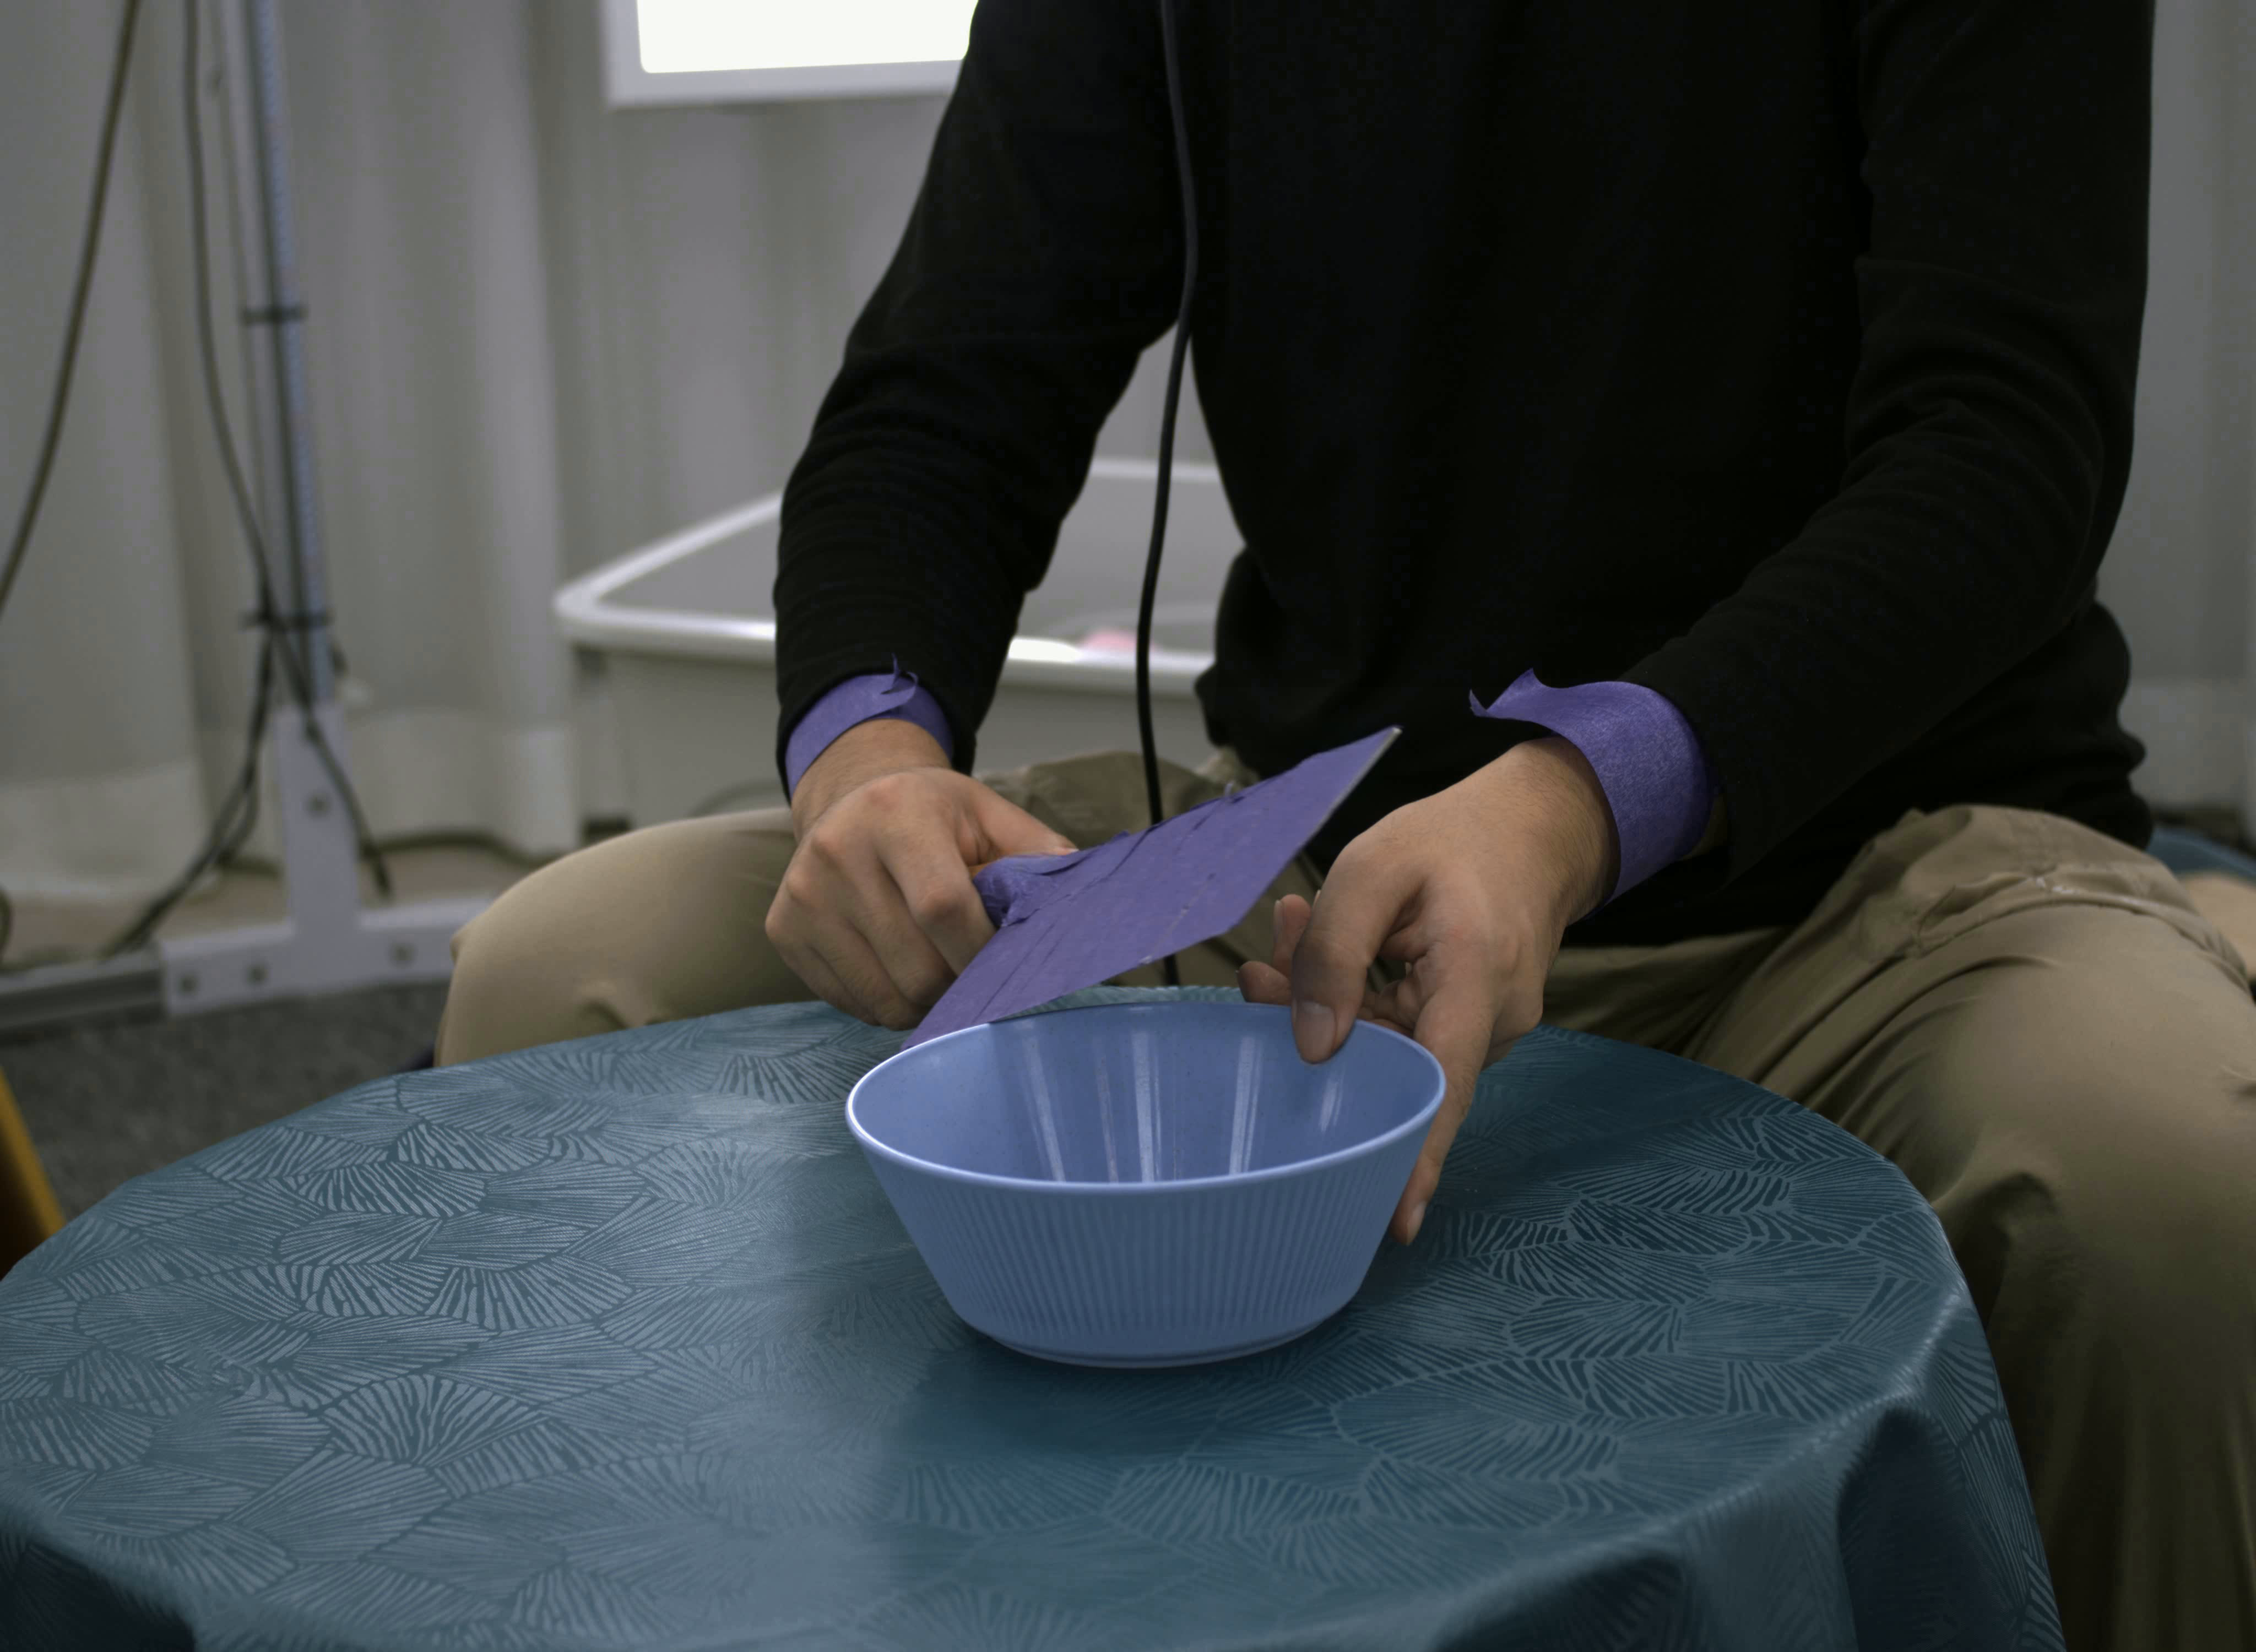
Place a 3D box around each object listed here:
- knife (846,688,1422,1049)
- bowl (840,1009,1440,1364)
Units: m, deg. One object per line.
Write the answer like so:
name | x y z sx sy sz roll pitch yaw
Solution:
knife | -0.022 0.027 1.701 0.104 0.032 0.314 -48 12 -32
bowl | 0.004 0.108 1.602 0.175 0.070 0.177 -2 14 0
